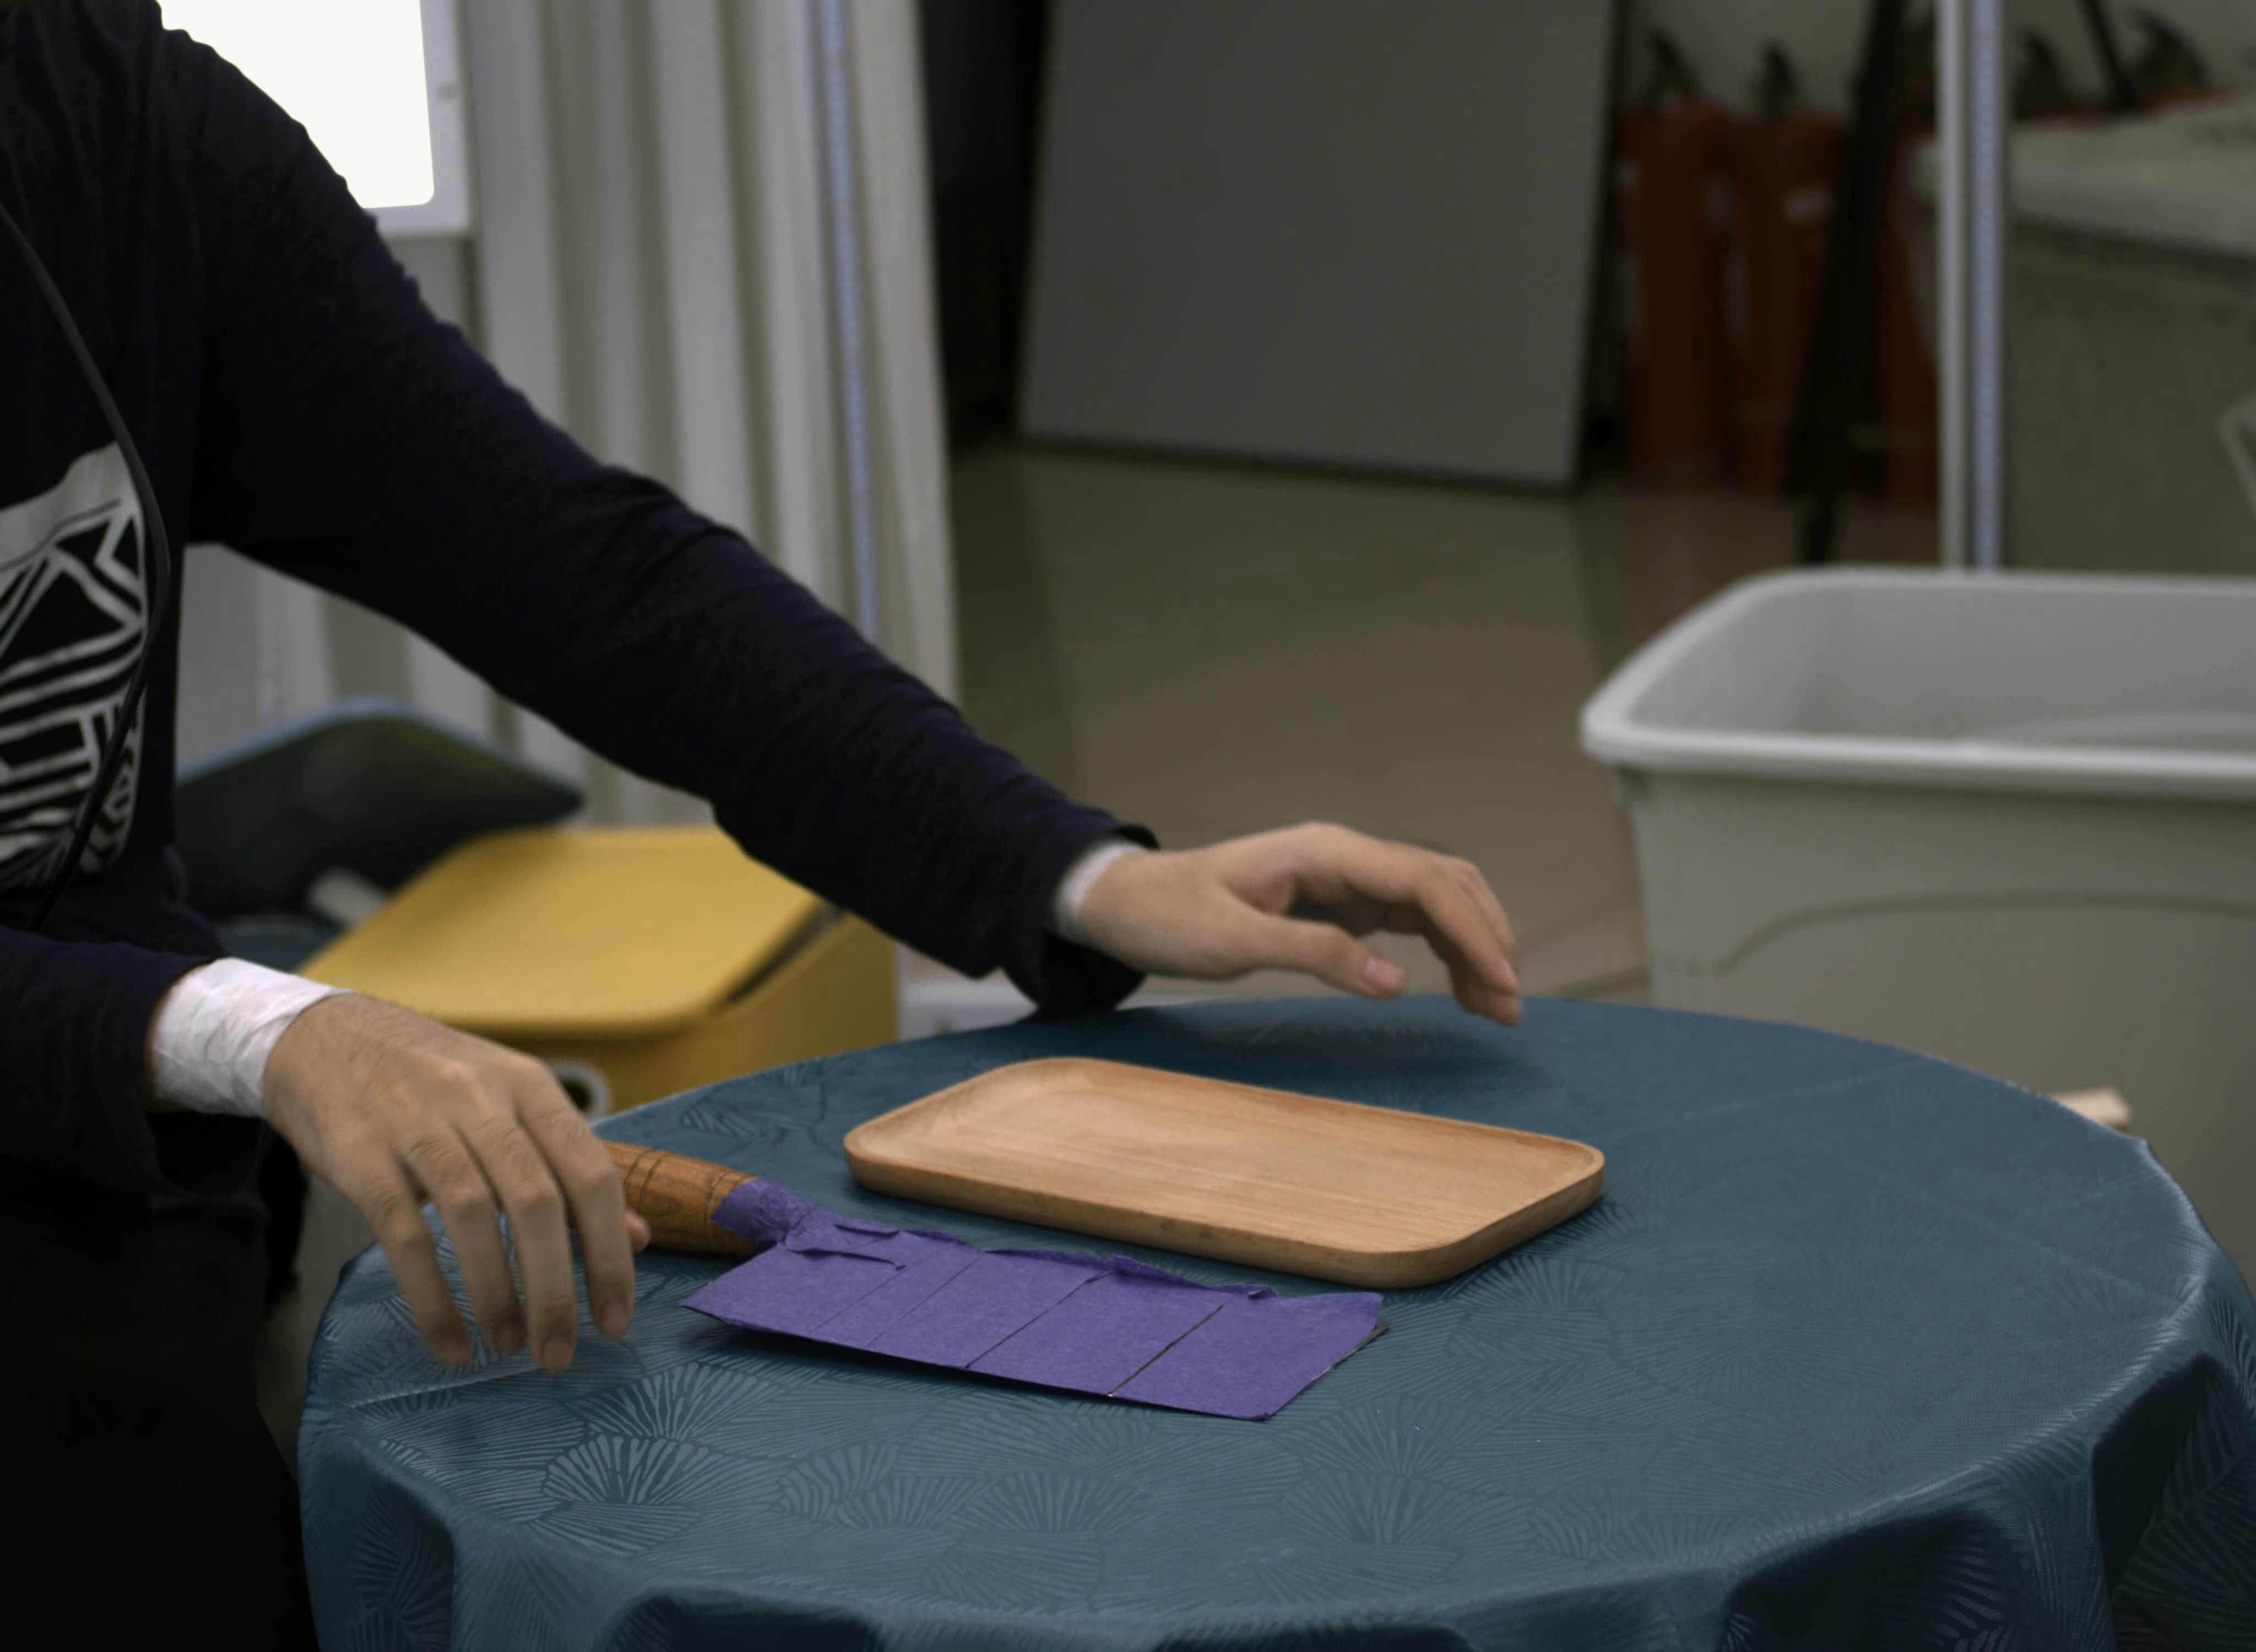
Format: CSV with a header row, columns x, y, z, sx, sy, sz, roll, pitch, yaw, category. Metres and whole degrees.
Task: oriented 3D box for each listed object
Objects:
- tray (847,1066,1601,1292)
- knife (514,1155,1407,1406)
x,y,z,sx,sy,sz,roll,pitch,yaw,category
0.029,0.114,1.764,0.253,0.023,0.128,9,21,42,tray
-0.072,0.139,1.666,0.316,0.032,0.102,4,15,30,knife
